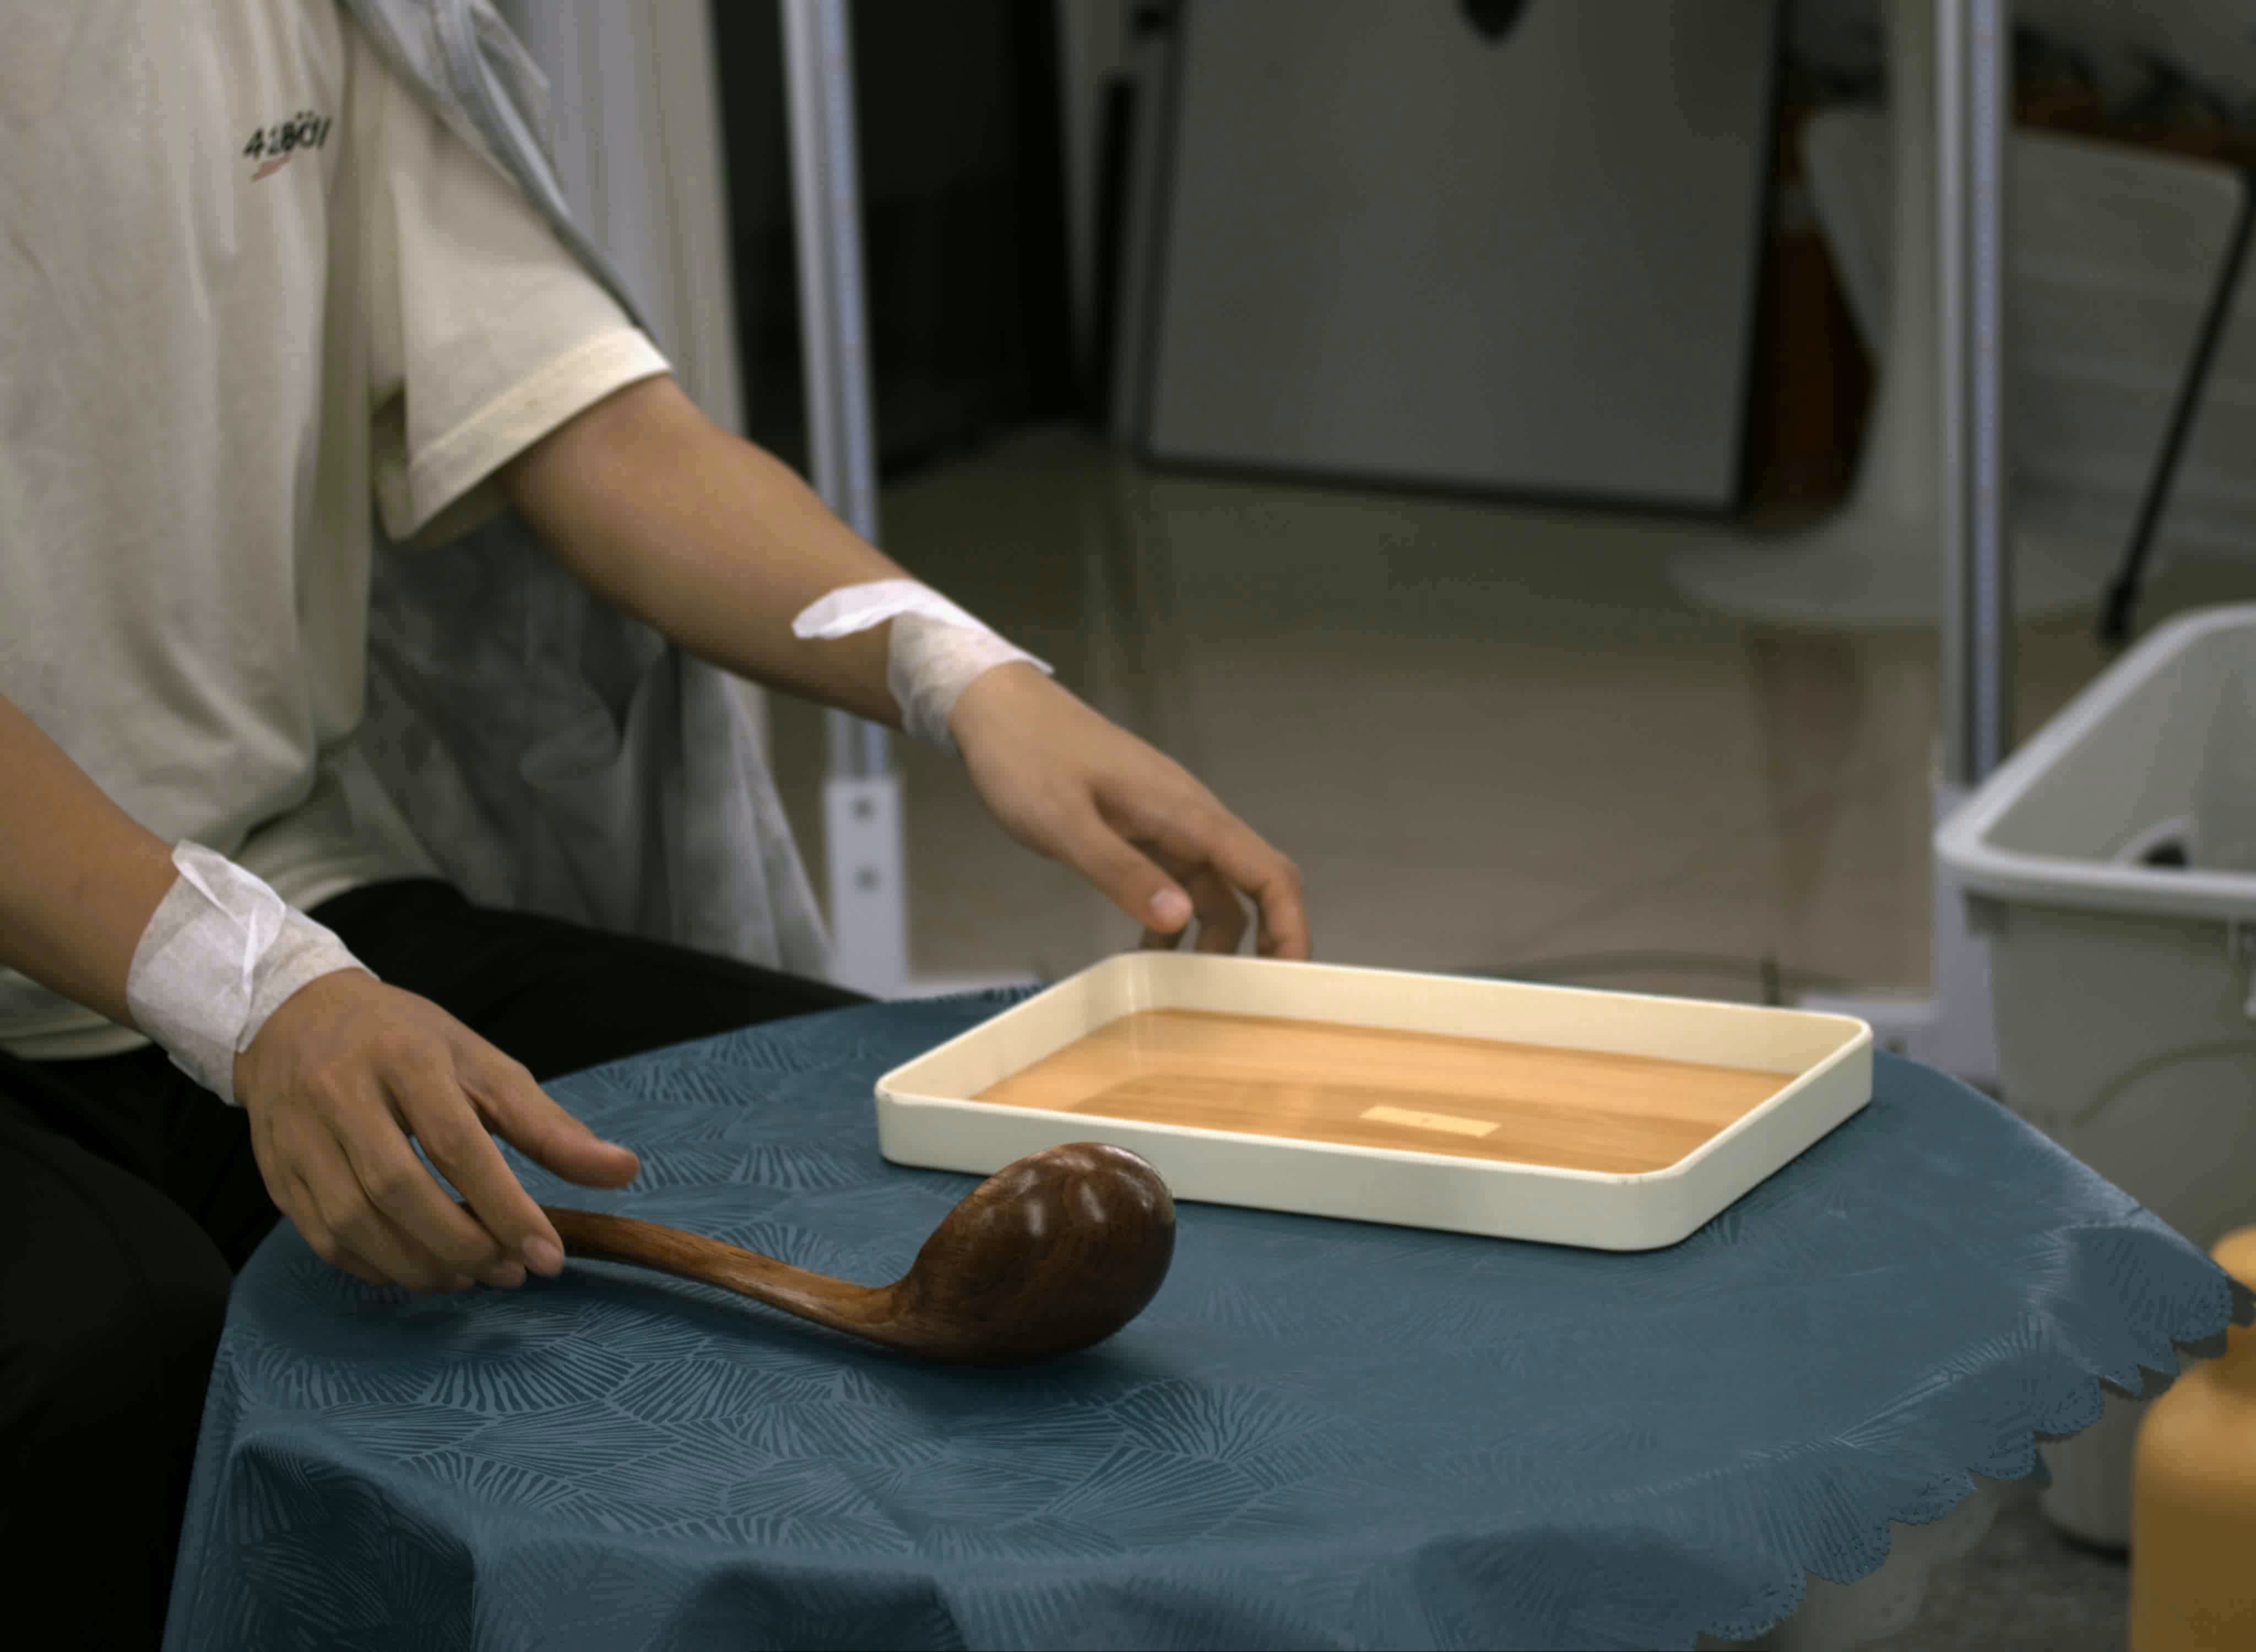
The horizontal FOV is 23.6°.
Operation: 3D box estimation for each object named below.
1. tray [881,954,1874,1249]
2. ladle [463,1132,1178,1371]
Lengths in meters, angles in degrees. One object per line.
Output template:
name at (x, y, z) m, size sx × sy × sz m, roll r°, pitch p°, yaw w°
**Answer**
tray at (0.084, 0.090, 1.819) m, size 0.301 × 0.028 × 0.188 m, roll 4°, pitch 16°, yaw 31°
ladle at (-0.101, 0.118, 1.672) m, size 0.276 × 0.077 × 0.081 m, roll 7°, pitch -23°, yaw 43°
